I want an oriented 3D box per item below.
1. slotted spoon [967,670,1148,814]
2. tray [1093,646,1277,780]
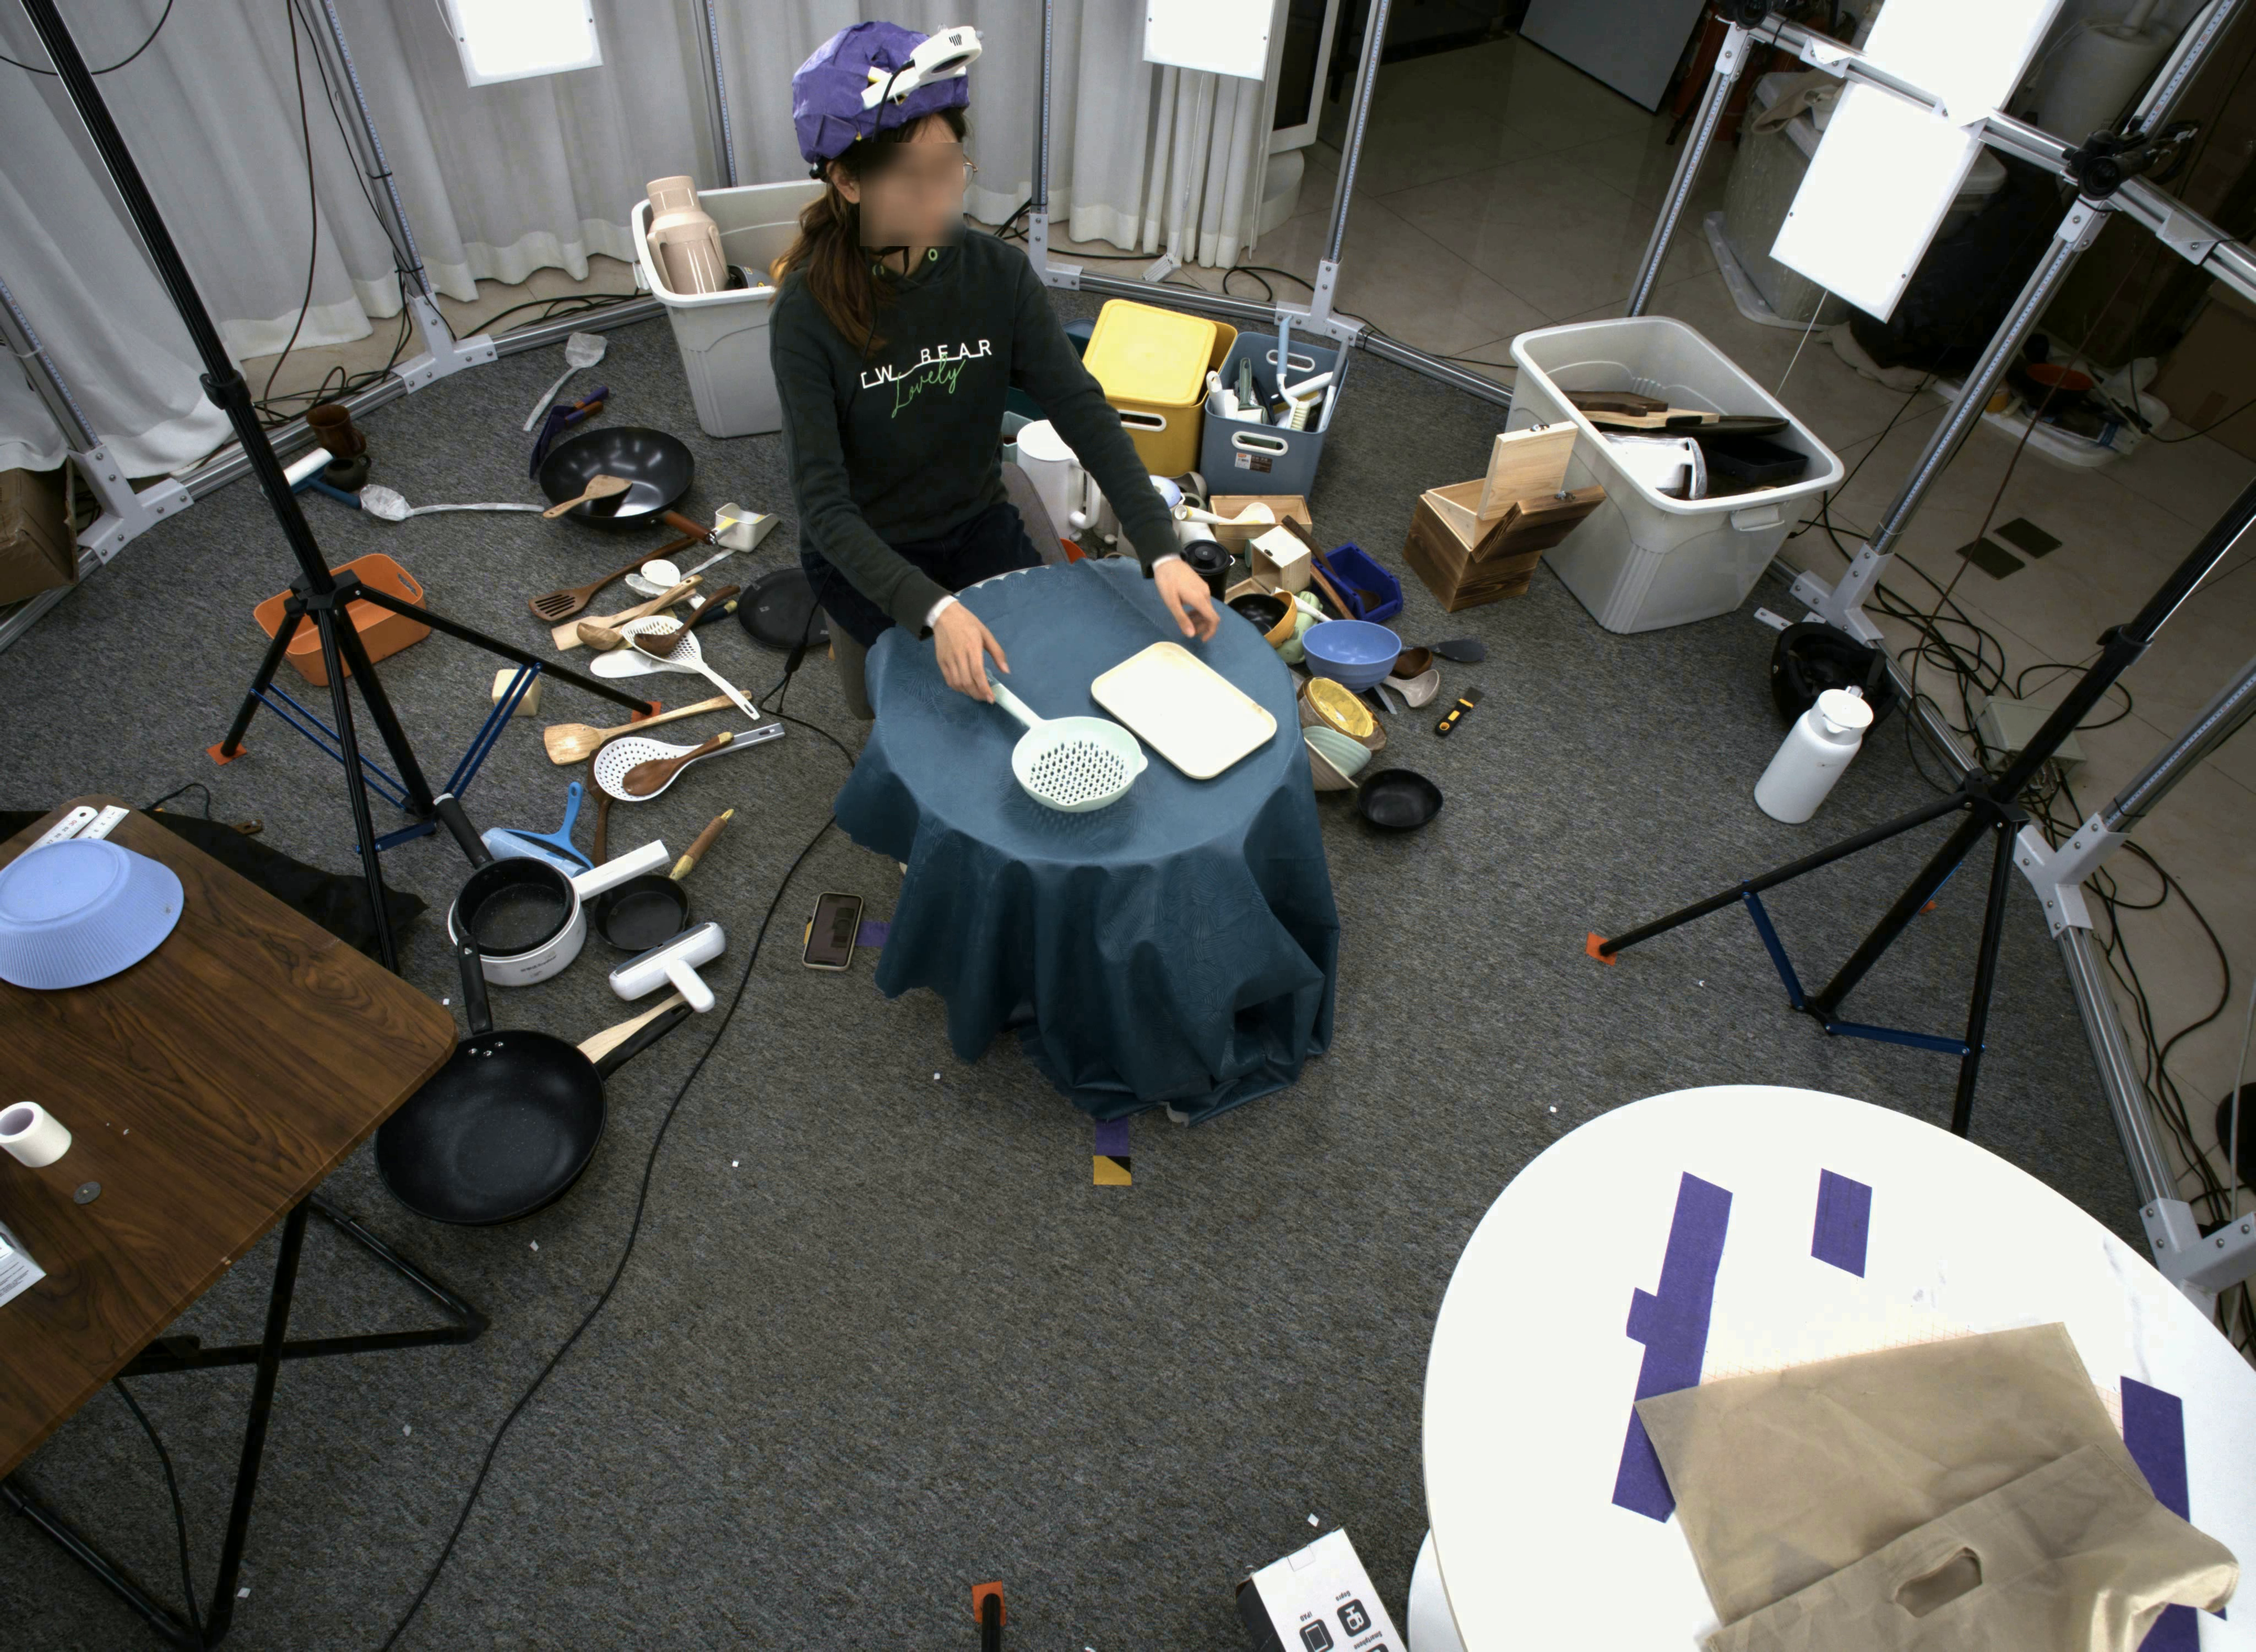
[{"bbox_3d":[-0.123,-0.132,1.751,0.170,0.073,0.366,-26,54,-25],"label":"slotted spoon"},{"bbox_3d":[0.079,-0.162,1.820,0.172,0.017,0.243,-33,58,-29],"label":"tray"}]
